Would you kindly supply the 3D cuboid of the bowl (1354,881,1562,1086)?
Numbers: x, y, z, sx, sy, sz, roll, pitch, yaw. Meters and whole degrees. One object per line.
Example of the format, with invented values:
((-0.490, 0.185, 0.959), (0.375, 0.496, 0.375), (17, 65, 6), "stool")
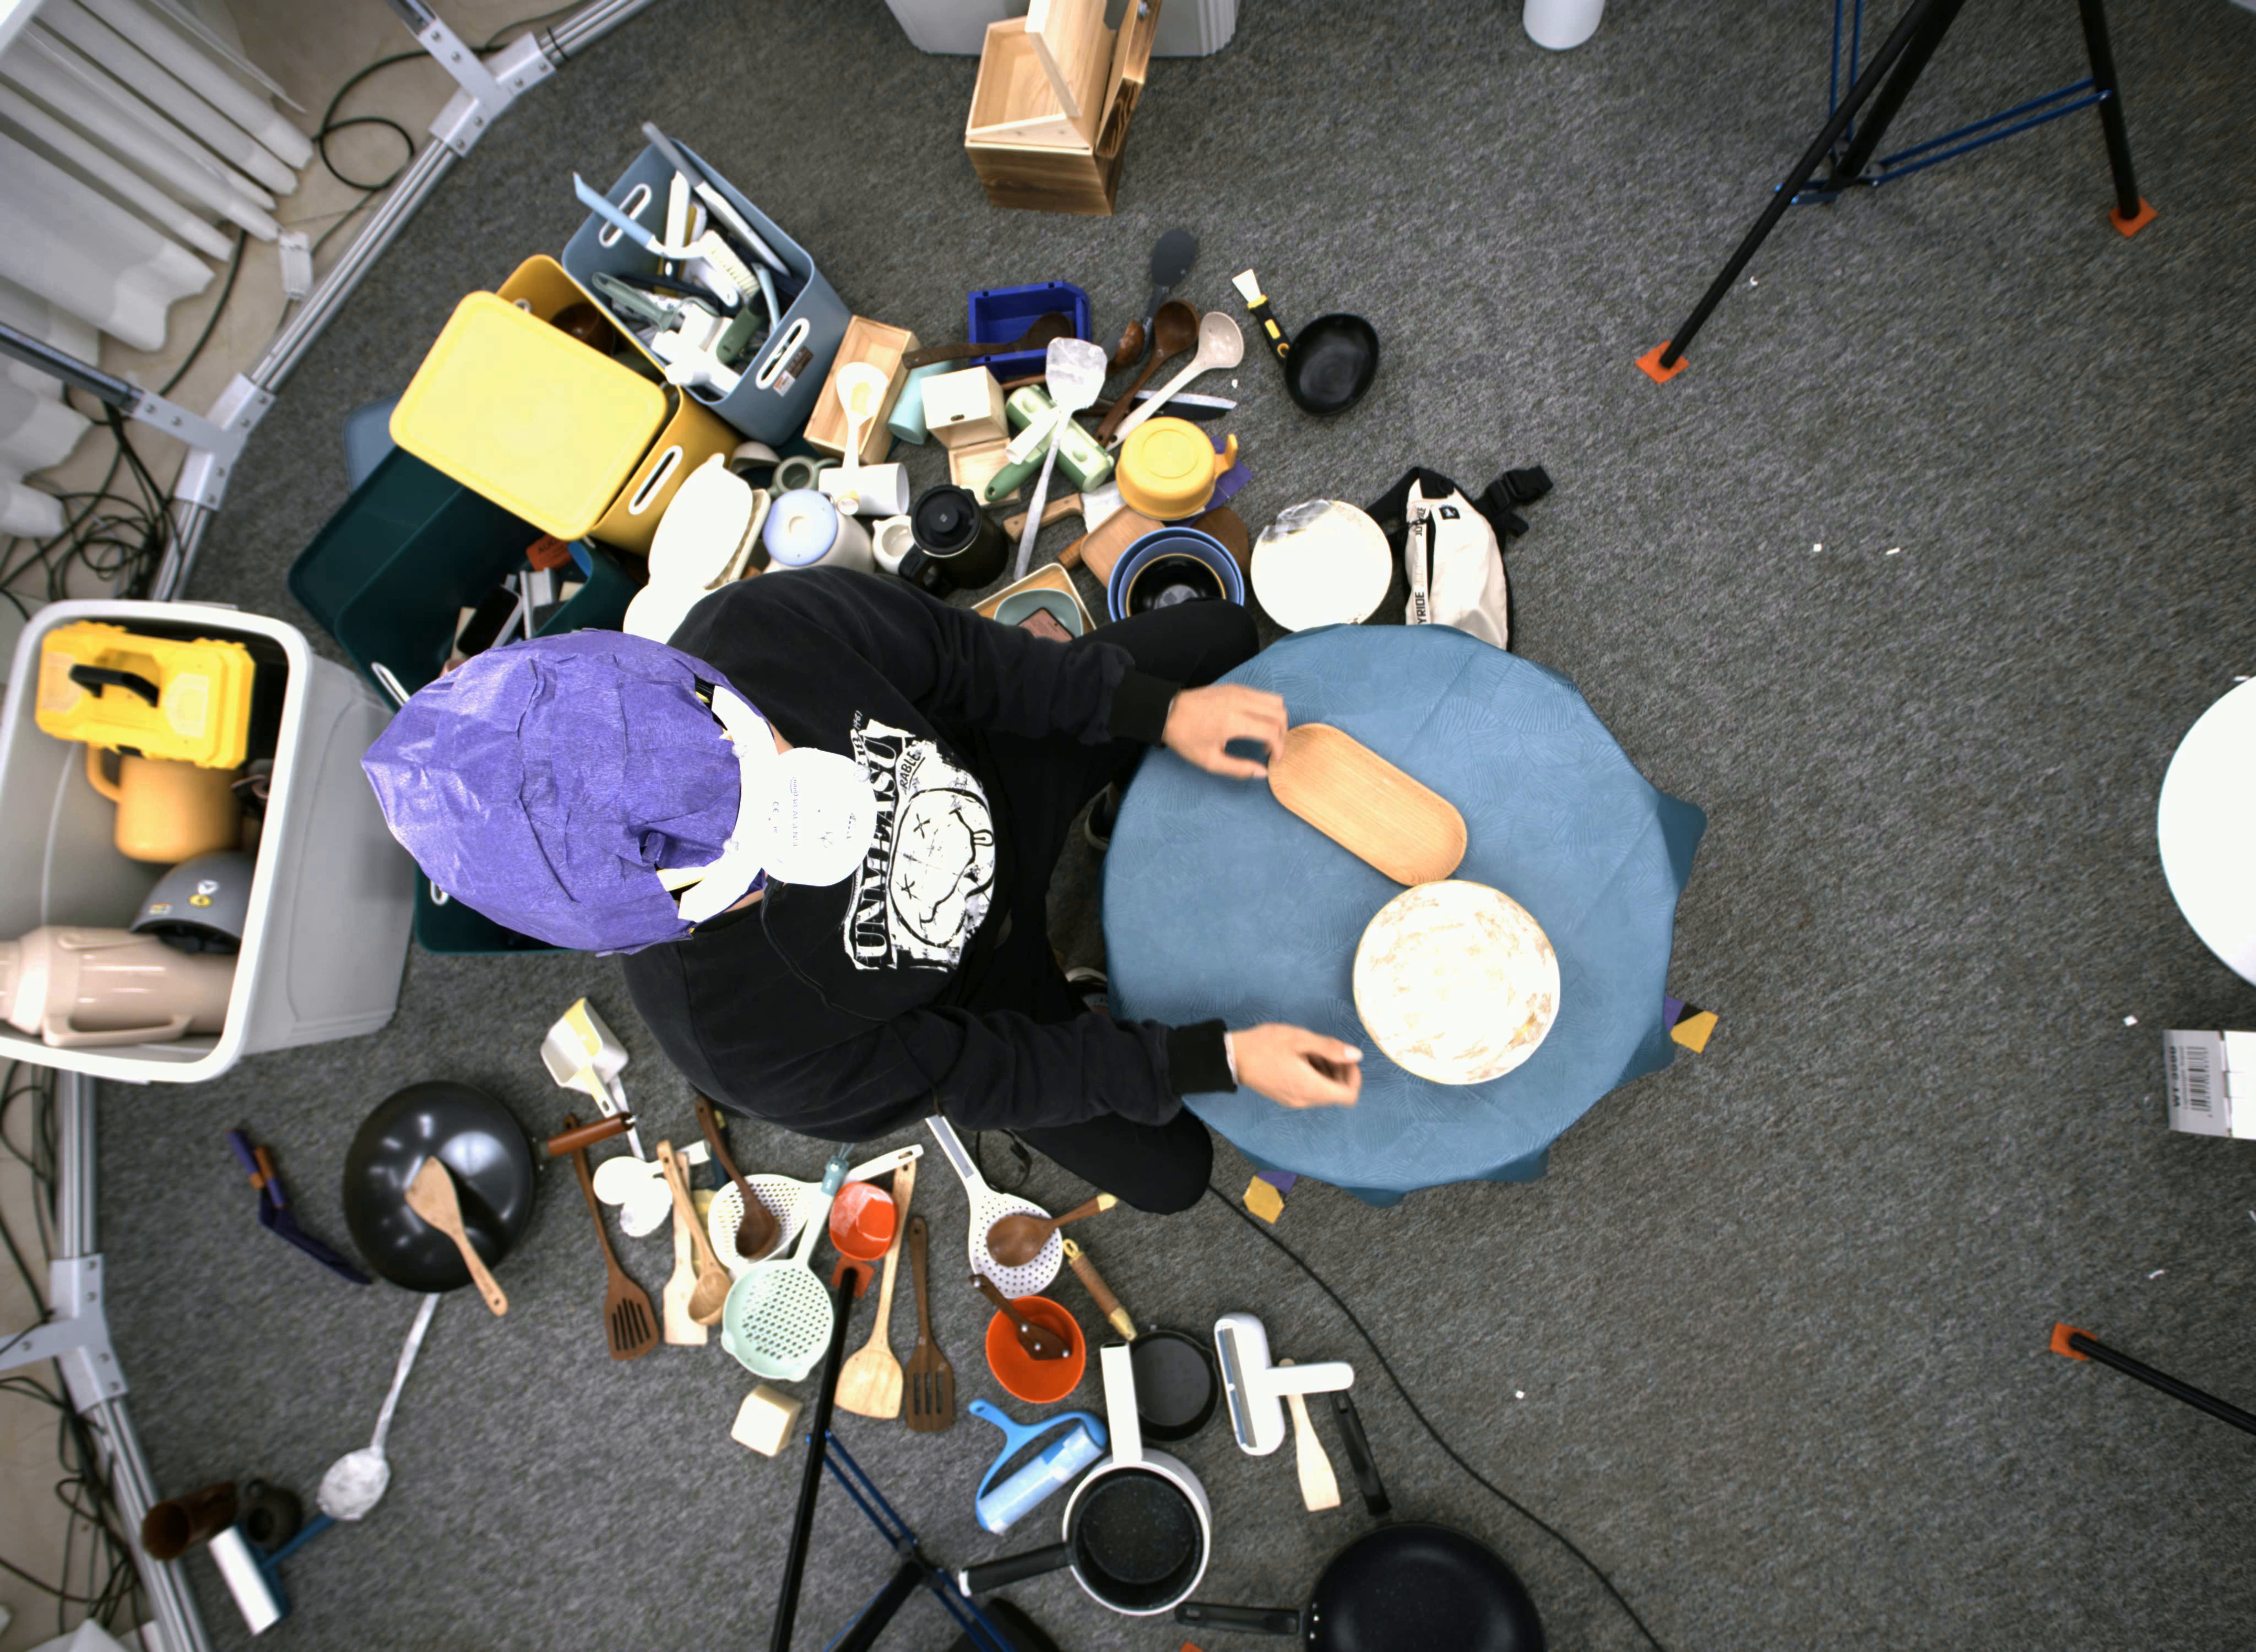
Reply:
((0.330, 0.154, 1.401), (0.215, 0.094, 0.214), (-1, 86, 11), "bowl")

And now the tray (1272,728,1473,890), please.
((0.258, -0.020, 1.466), (0.230, 0.020, 0.102), (33, 95, 9), "tray")
